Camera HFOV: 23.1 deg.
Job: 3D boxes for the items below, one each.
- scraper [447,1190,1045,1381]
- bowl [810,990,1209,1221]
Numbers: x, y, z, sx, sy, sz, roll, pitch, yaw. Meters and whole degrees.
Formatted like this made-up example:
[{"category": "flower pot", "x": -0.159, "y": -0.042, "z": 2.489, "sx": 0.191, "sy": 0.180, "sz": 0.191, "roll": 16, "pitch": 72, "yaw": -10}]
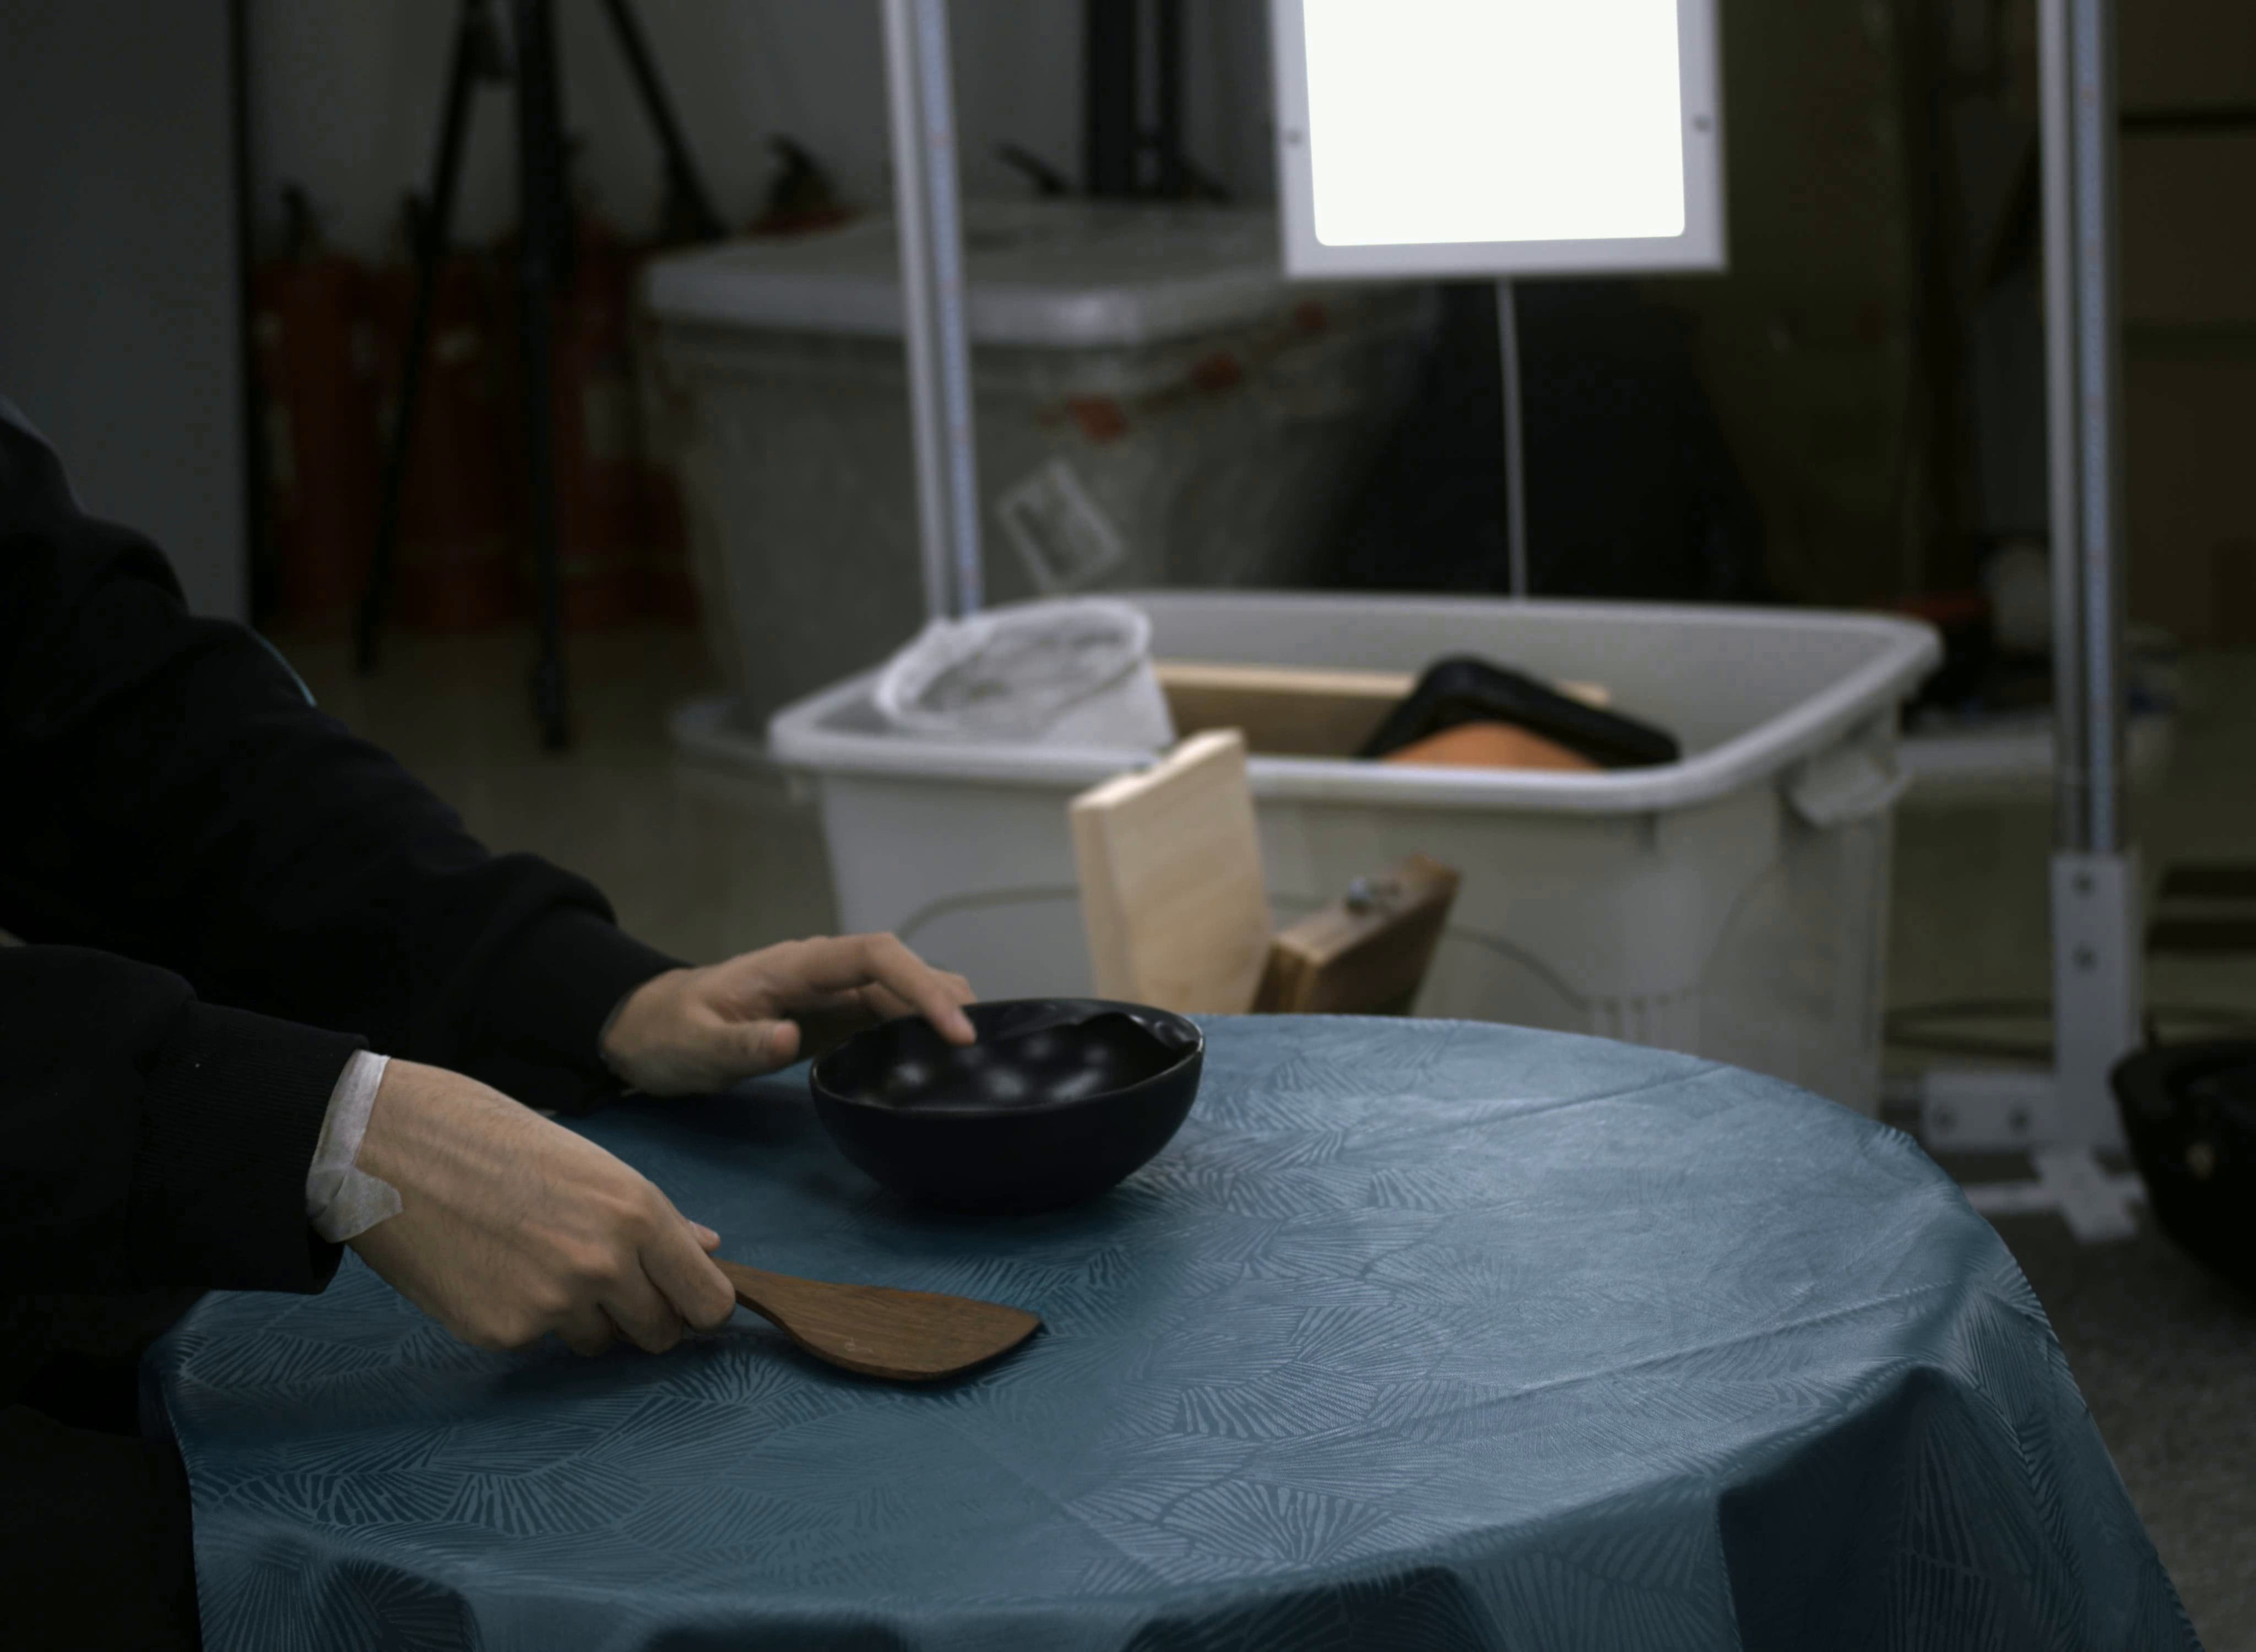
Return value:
[{"category": "scraper", "x": -0.129, "y": 0.147, "z": 1.789, "sx": 0.215, "sy": 0.011, "sz": 0.074, "roll": 13, "pitch": 17, "yaw": 28}, {"category": "bowl", "x": -0.039, "y": 0.102, "z": 1.912, "sx": 0.140, "sy": 0.050, "sz": 0.140, "roll": -6, "pitch": 16, "yaw": 0}]
